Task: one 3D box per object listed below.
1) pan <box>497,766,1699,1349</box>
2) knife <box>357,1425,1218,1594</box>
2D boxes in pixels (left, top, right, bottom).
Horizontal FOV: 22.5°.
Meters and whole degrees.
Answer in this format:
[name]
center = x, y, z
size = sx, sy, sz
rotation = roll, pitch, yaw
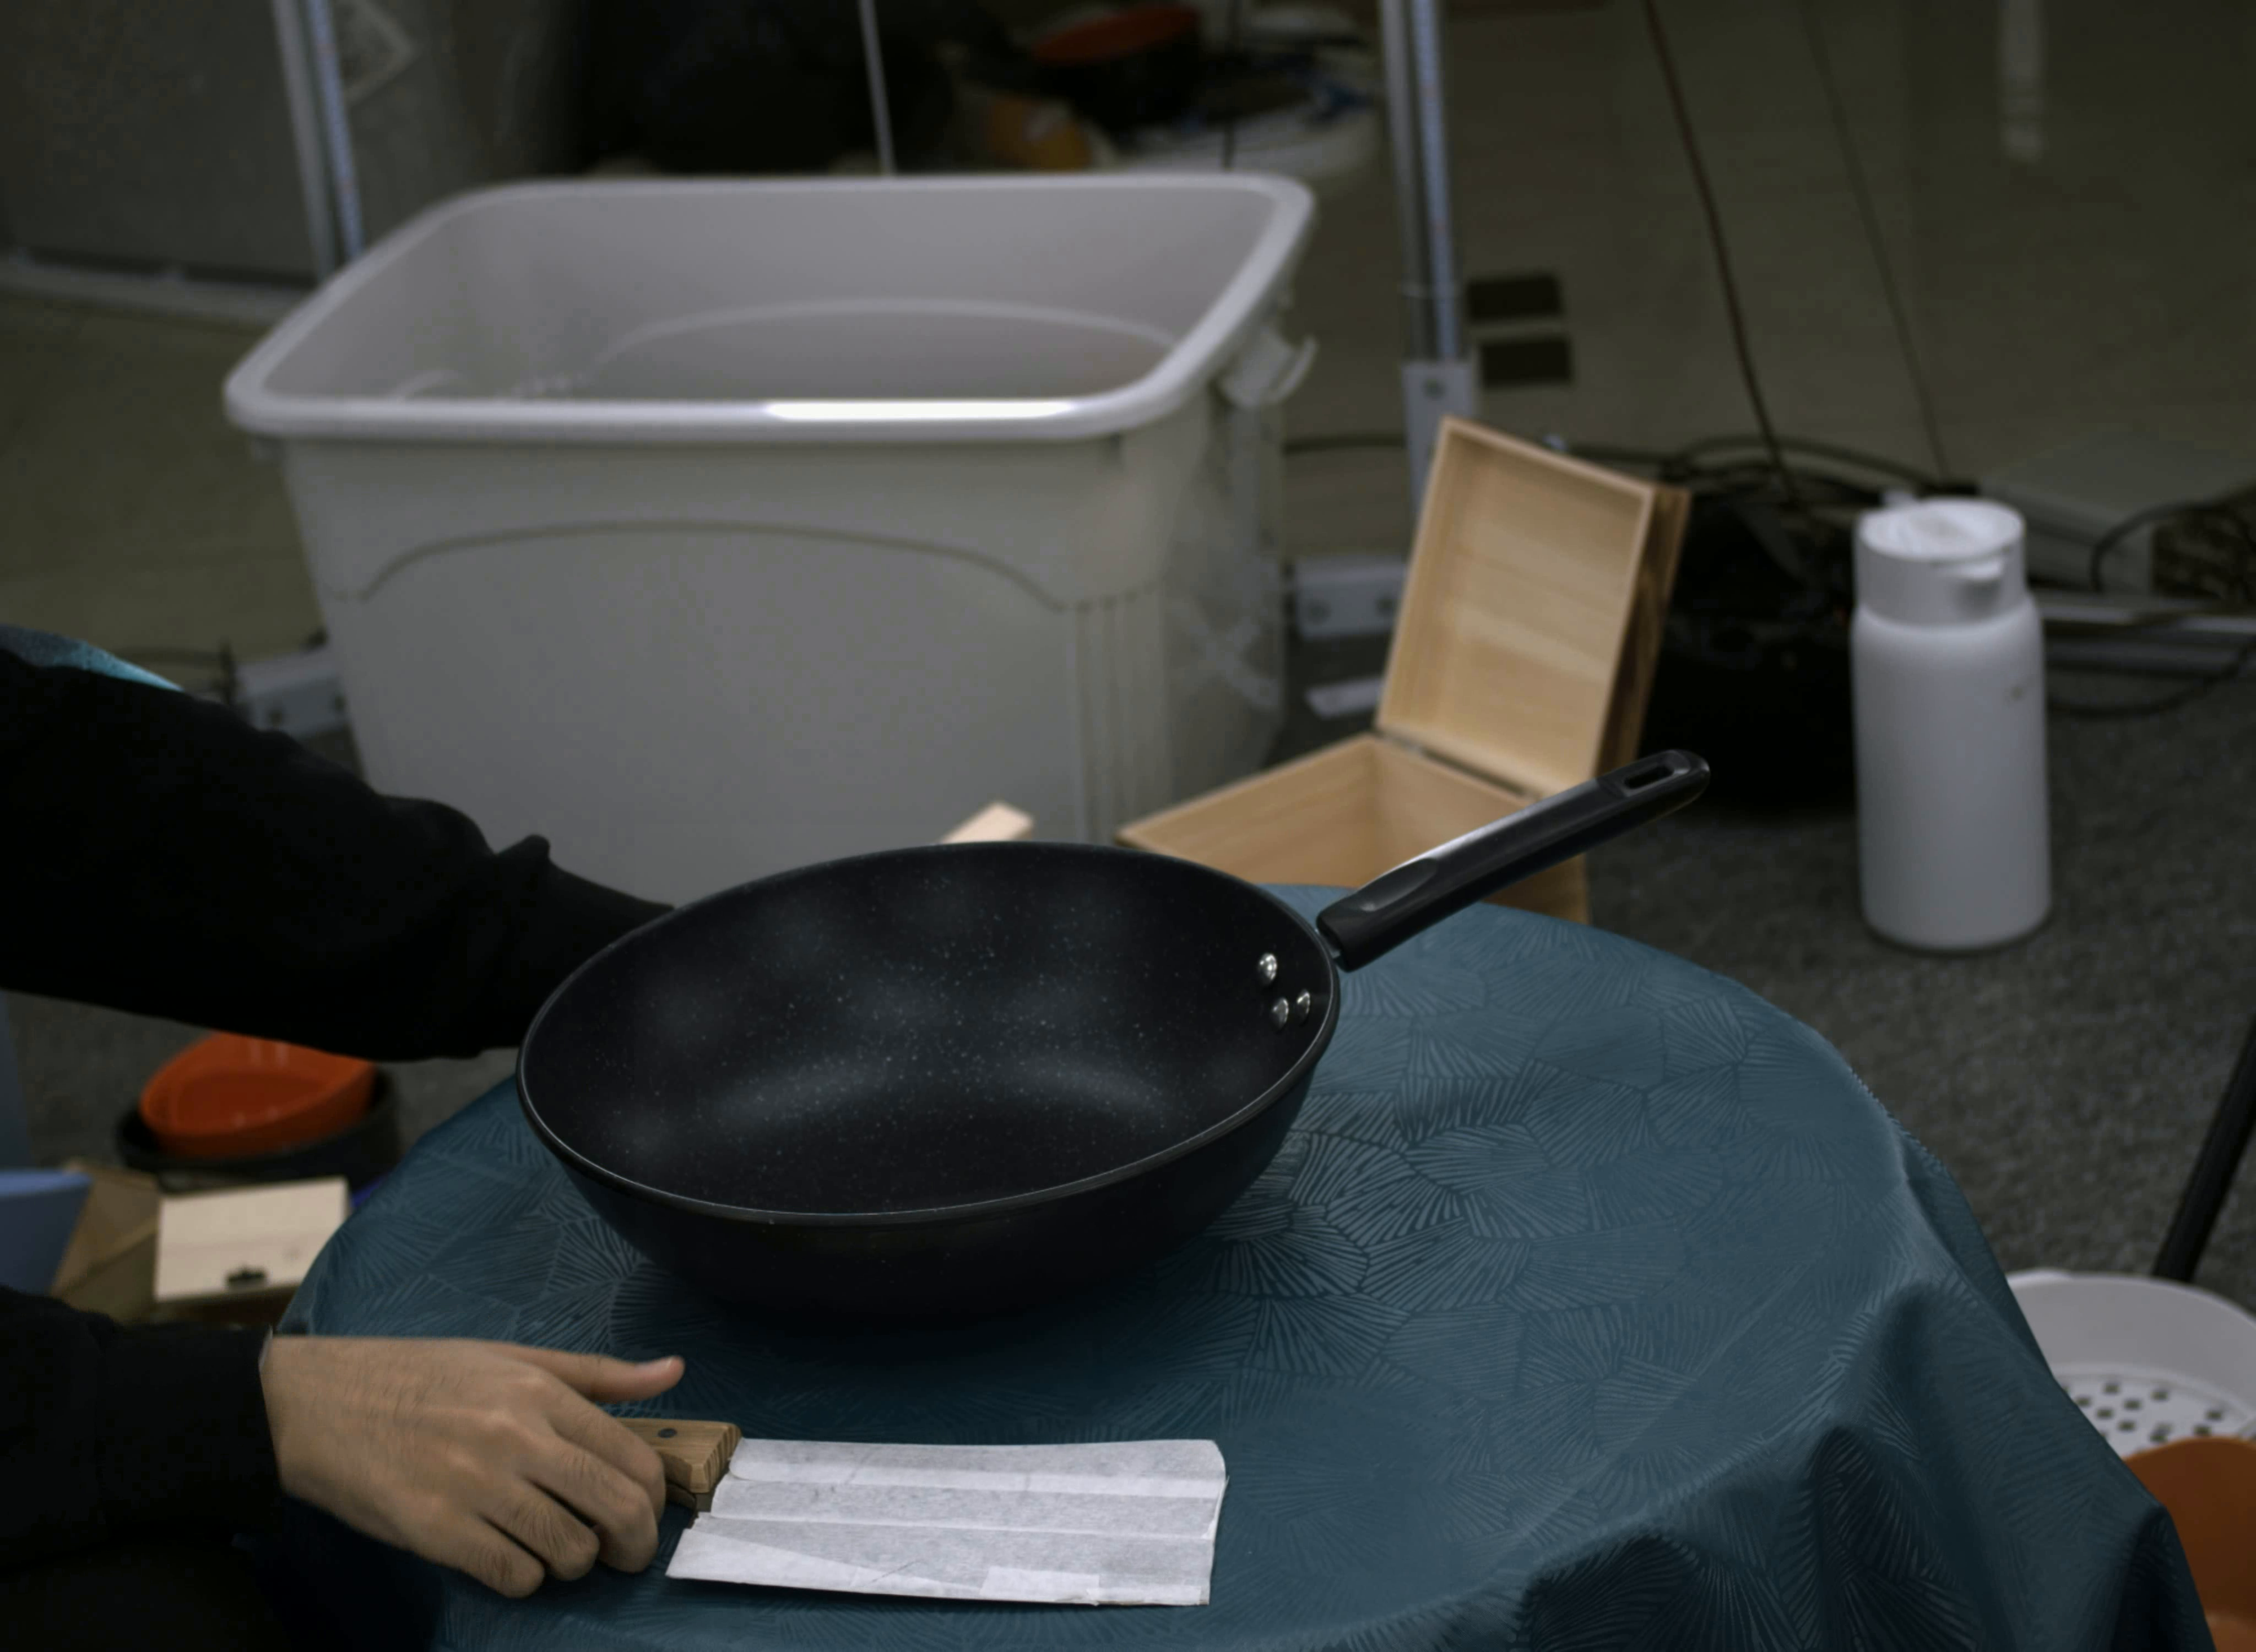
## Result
[pan]
center = 0.000, 0.083, 2.141
size = 0.475, 0.113, 0.306
rotation = -14, 28, -16
[knife]
center = -0.117, 0.231, 1.958
size = 0.314, 0.022, 0.112
rotation = 3, 27, 13
